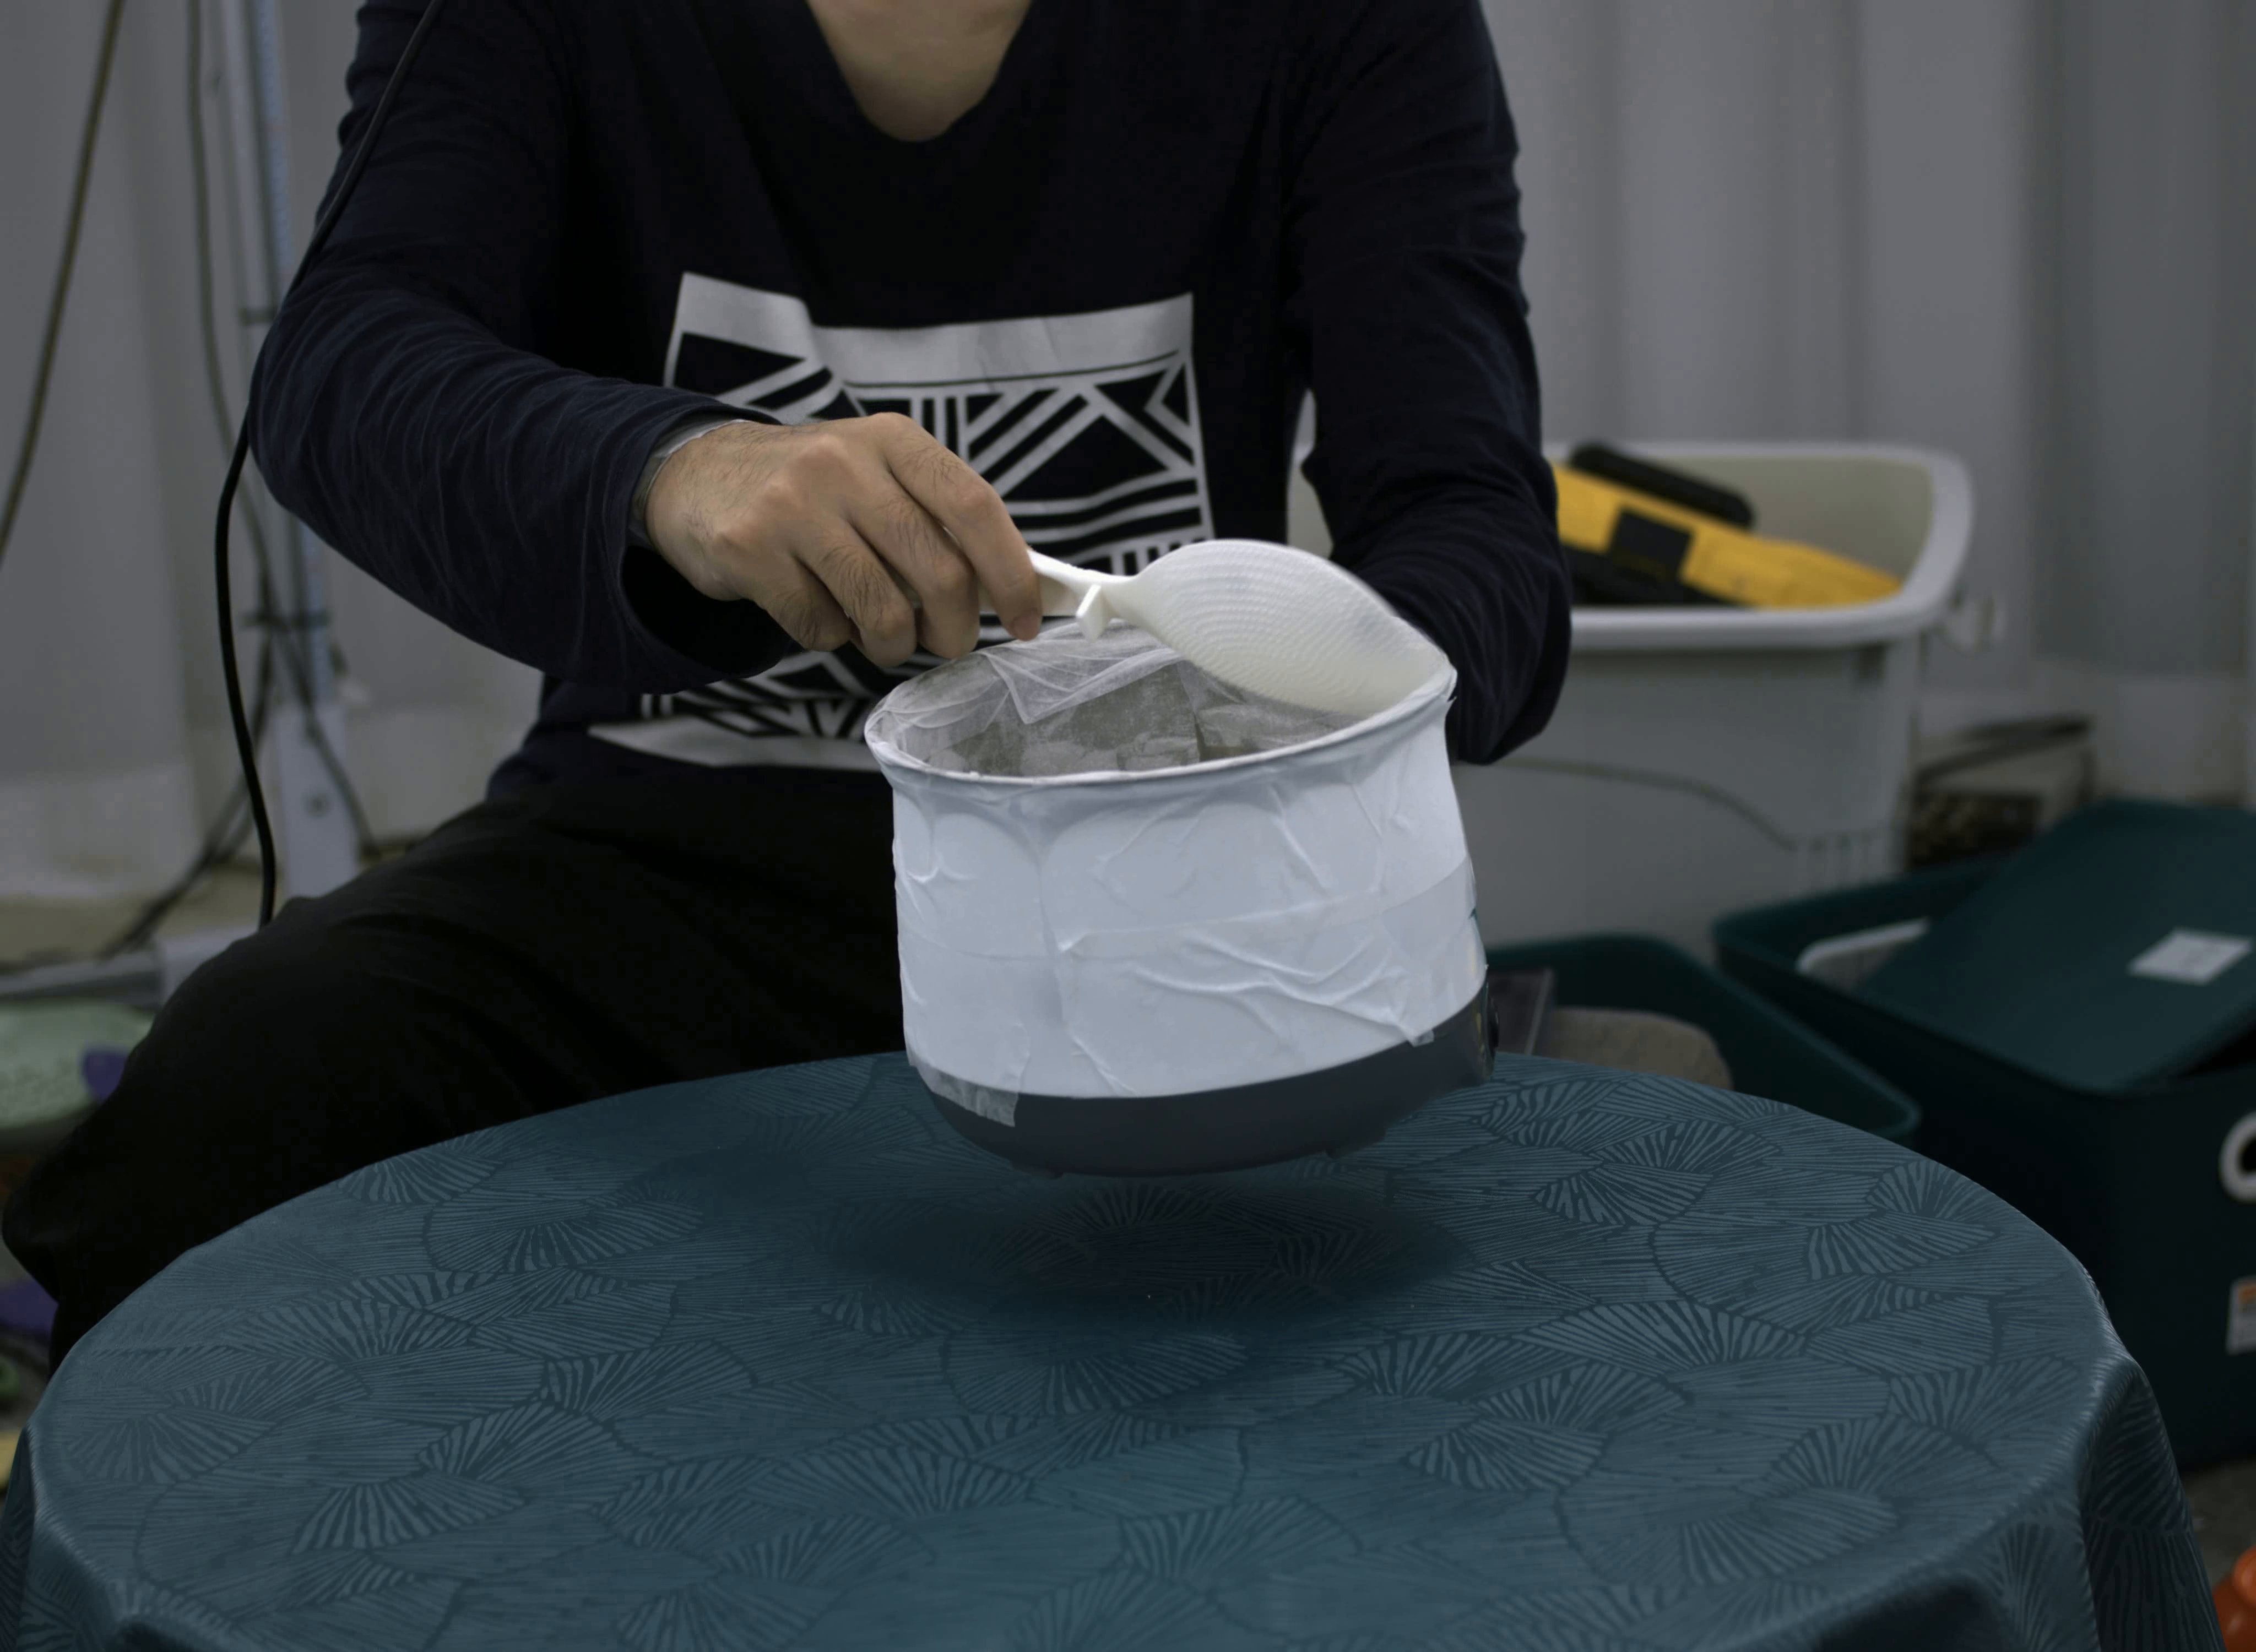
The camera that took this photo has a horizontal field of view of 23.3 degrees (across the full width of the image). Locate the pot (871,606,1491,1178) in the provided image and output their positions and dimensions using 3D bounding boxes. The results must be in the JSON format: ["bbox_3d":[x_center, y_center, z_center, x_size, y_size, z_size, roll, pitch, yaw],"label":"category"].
[{"bbox_3d":[0.018,0.009,1.663,0.178,0.136,0.235,-3,18,5],"label":"pot"}]

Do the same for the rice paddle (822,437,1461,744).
[{"bbox_3d":[0.006,-0.070,1.614,0.206,0.068,0.029,20,49,19],"label":"rice paddle"}]
